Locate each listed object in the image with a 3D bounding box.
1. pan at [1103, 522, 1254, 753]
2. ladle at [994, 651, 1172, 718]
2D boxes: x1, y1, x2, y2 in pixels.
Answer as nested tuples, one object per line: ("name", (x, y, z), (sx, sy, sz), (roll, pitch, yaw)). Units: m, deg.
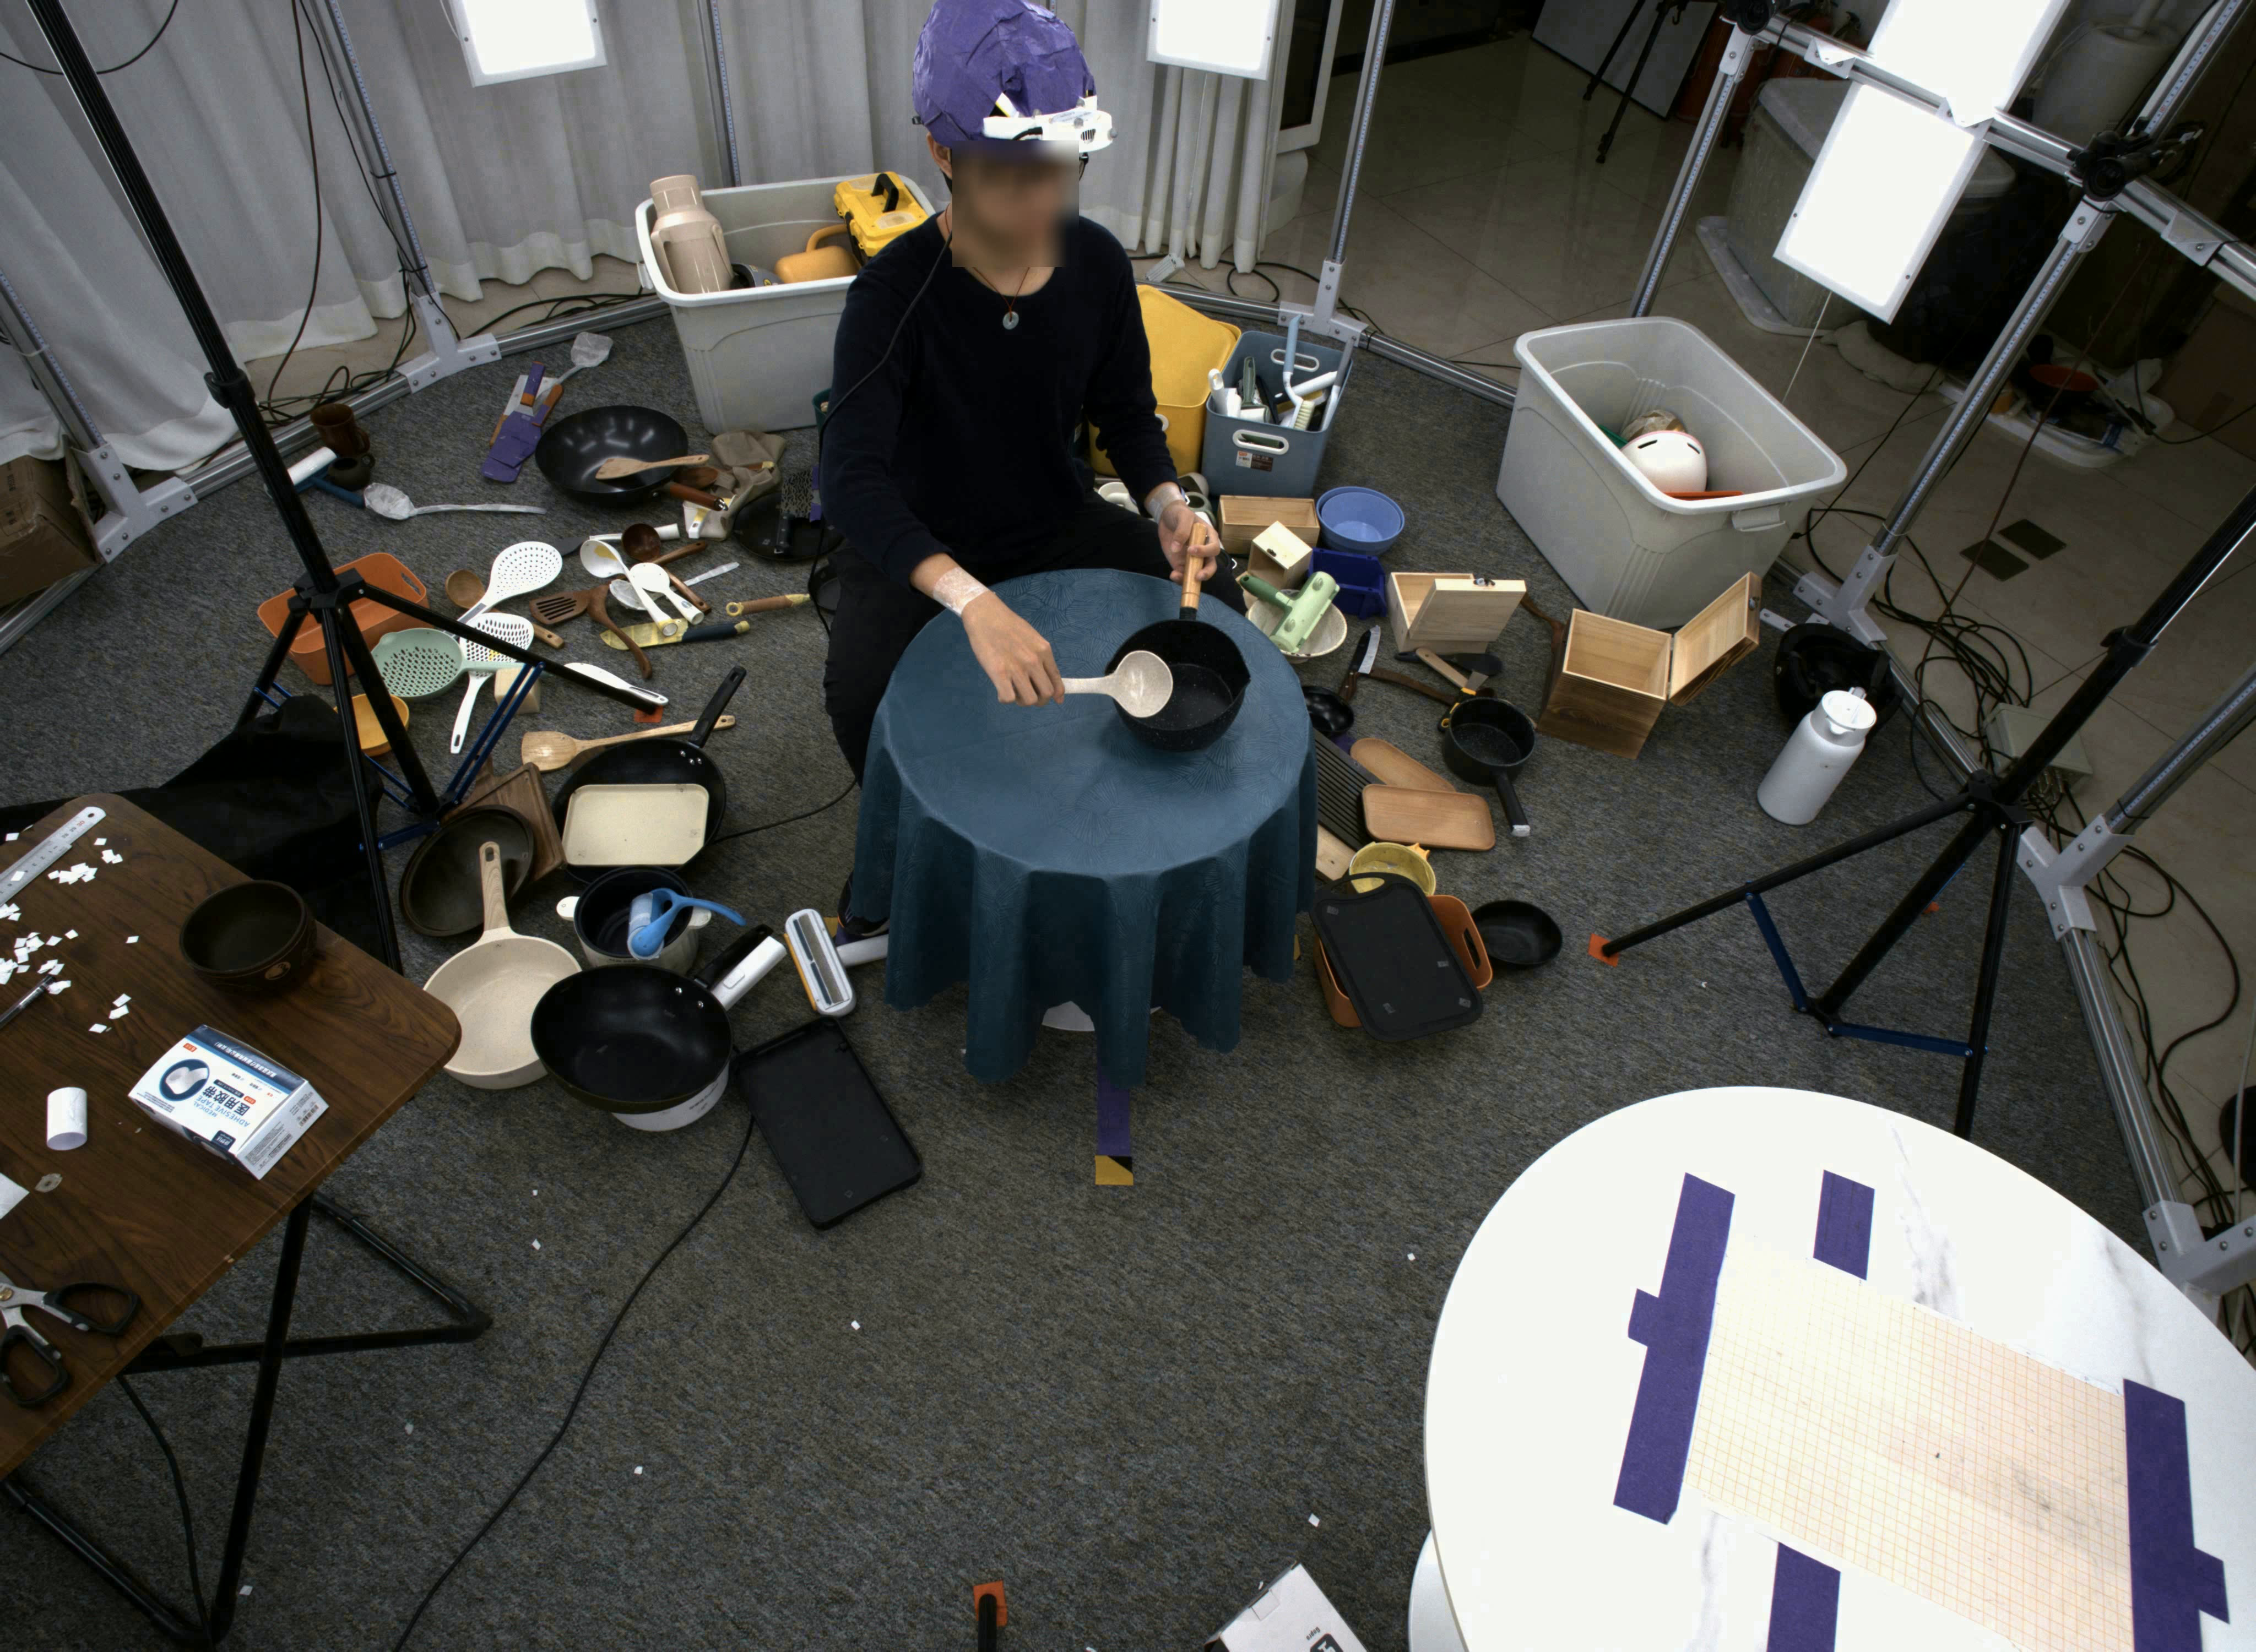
("pan", (0.079, -0.261, 1.792), (0.208, 0.106, 0.350), (3, 61, 10))
("ladle", (-0.050, -0.179, 1.627), (0.070, 0.089, 0.274), (4, 8, 38))
